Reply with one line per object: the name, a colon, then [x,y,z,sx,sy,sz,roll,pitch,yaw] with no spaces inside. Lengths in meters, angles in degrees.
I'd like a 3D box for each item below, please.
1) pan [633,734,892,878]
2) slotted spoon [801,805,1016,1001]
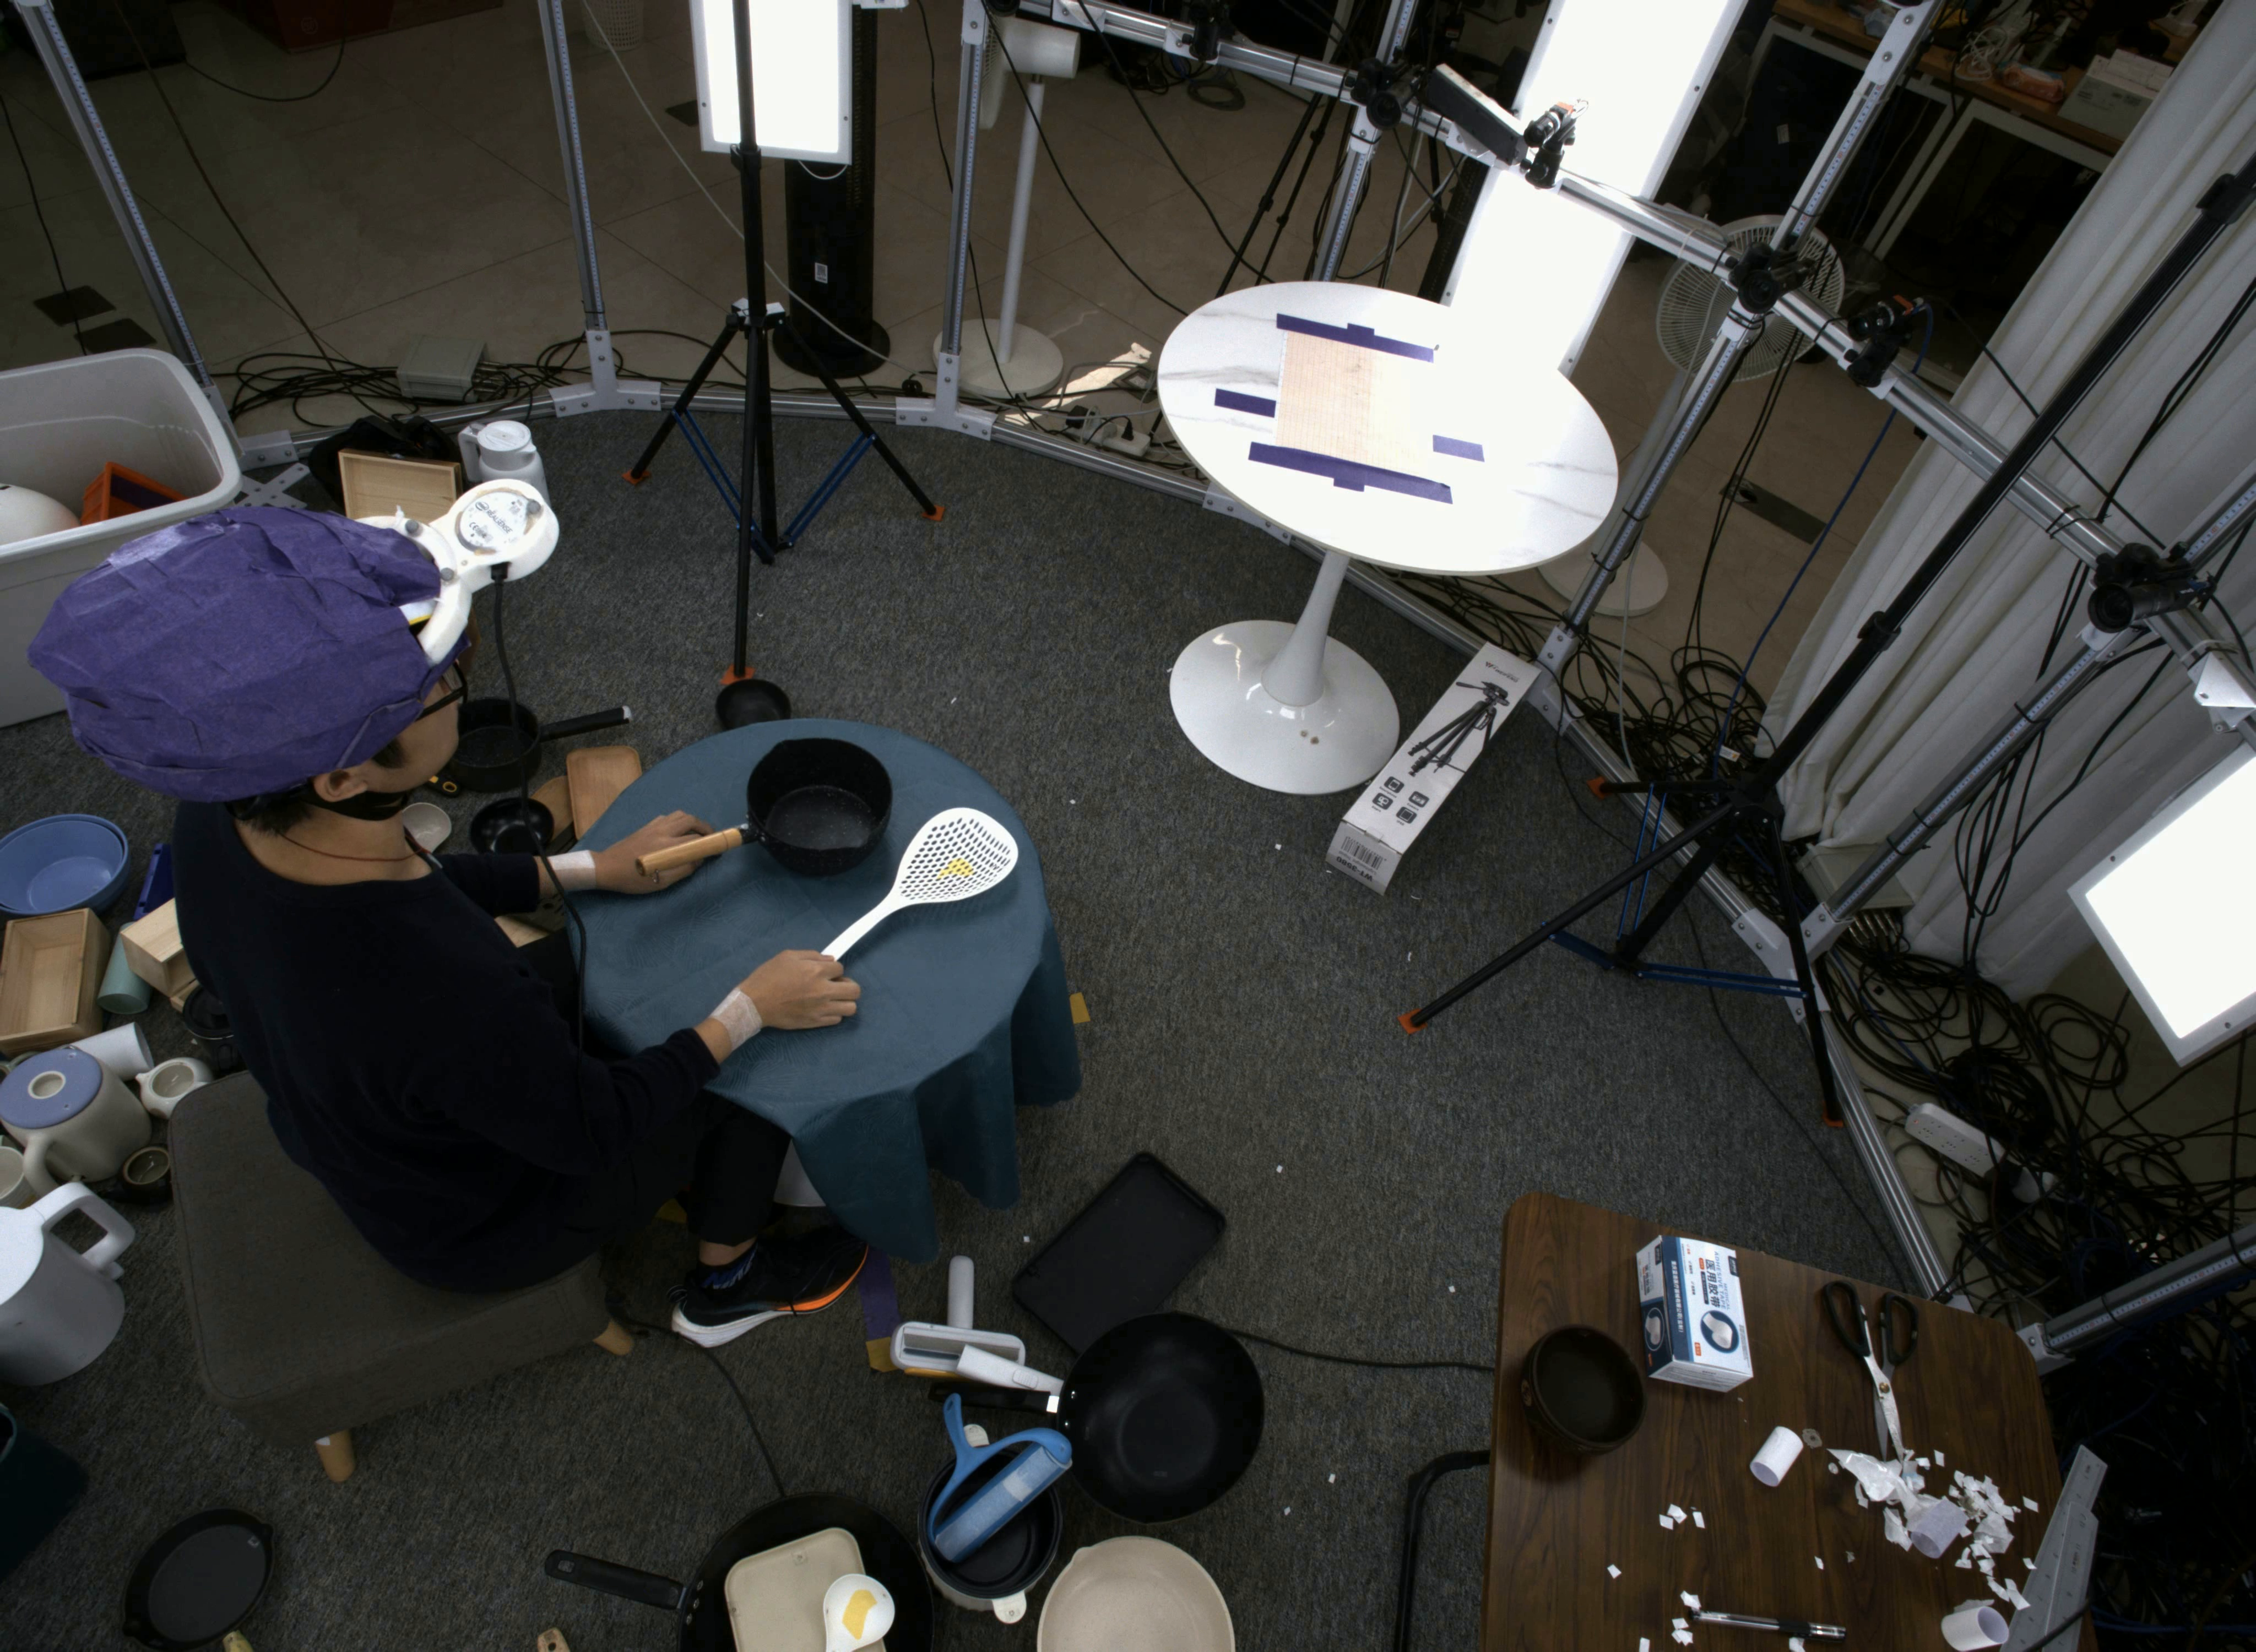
pan: [-0.458,0.006,1.630,0.344,0.110,0.203,-30,66,-32]
slotted spoon: [-0.287,0.096,1.651,0.134,0.051,0.348,38,52,17]
